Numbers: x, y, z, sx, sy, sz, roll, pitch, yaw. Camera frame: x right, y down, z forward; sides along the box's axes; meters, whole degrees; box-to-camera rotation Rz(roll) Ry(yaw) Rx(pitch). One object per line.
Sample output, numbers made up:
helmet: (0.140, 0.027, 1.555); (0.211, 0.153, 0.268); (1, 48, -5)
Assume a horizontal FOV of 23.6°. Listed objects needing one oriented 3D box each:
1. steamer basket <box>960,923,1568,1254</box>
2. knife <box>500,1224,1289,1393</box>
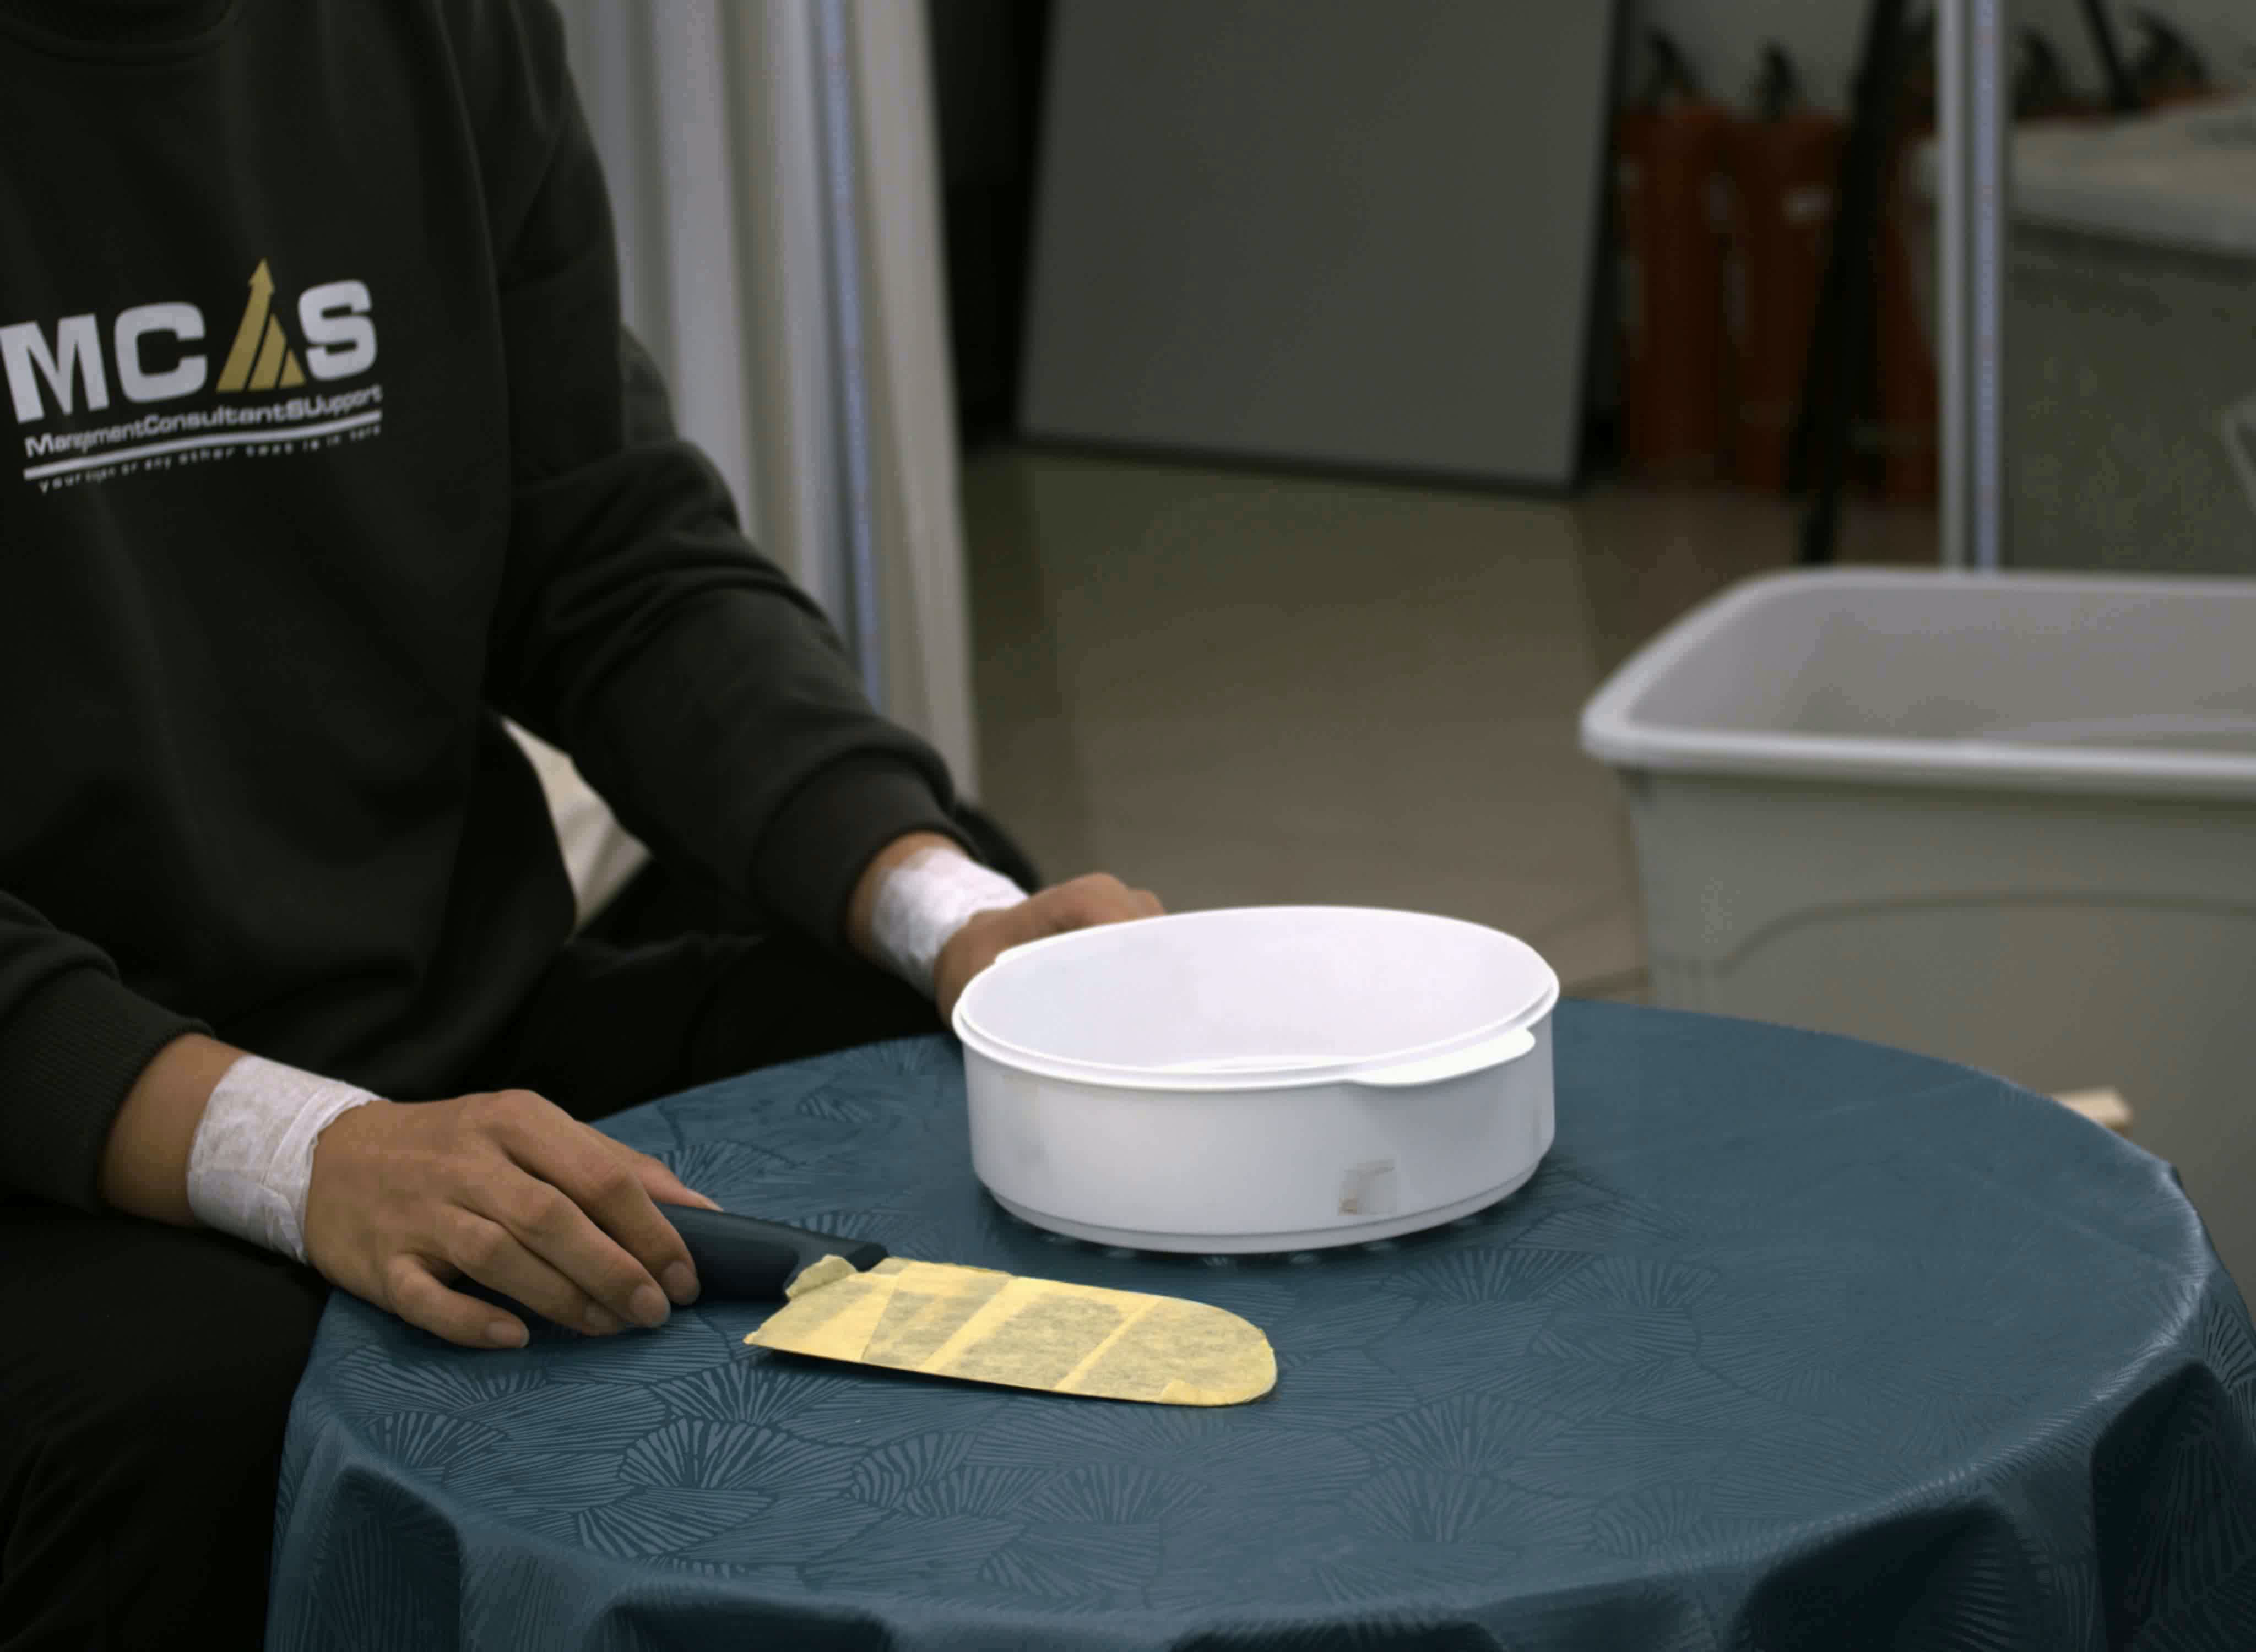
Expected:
steamer basket: (0.046, 0.086, 1.766); (0.197, 0.070, 0.233); (-12, 14, -34)
knife: (-0.079, 0.150, 1.652); (0.290, 0.027, 0.080); (4, 18, 30)
